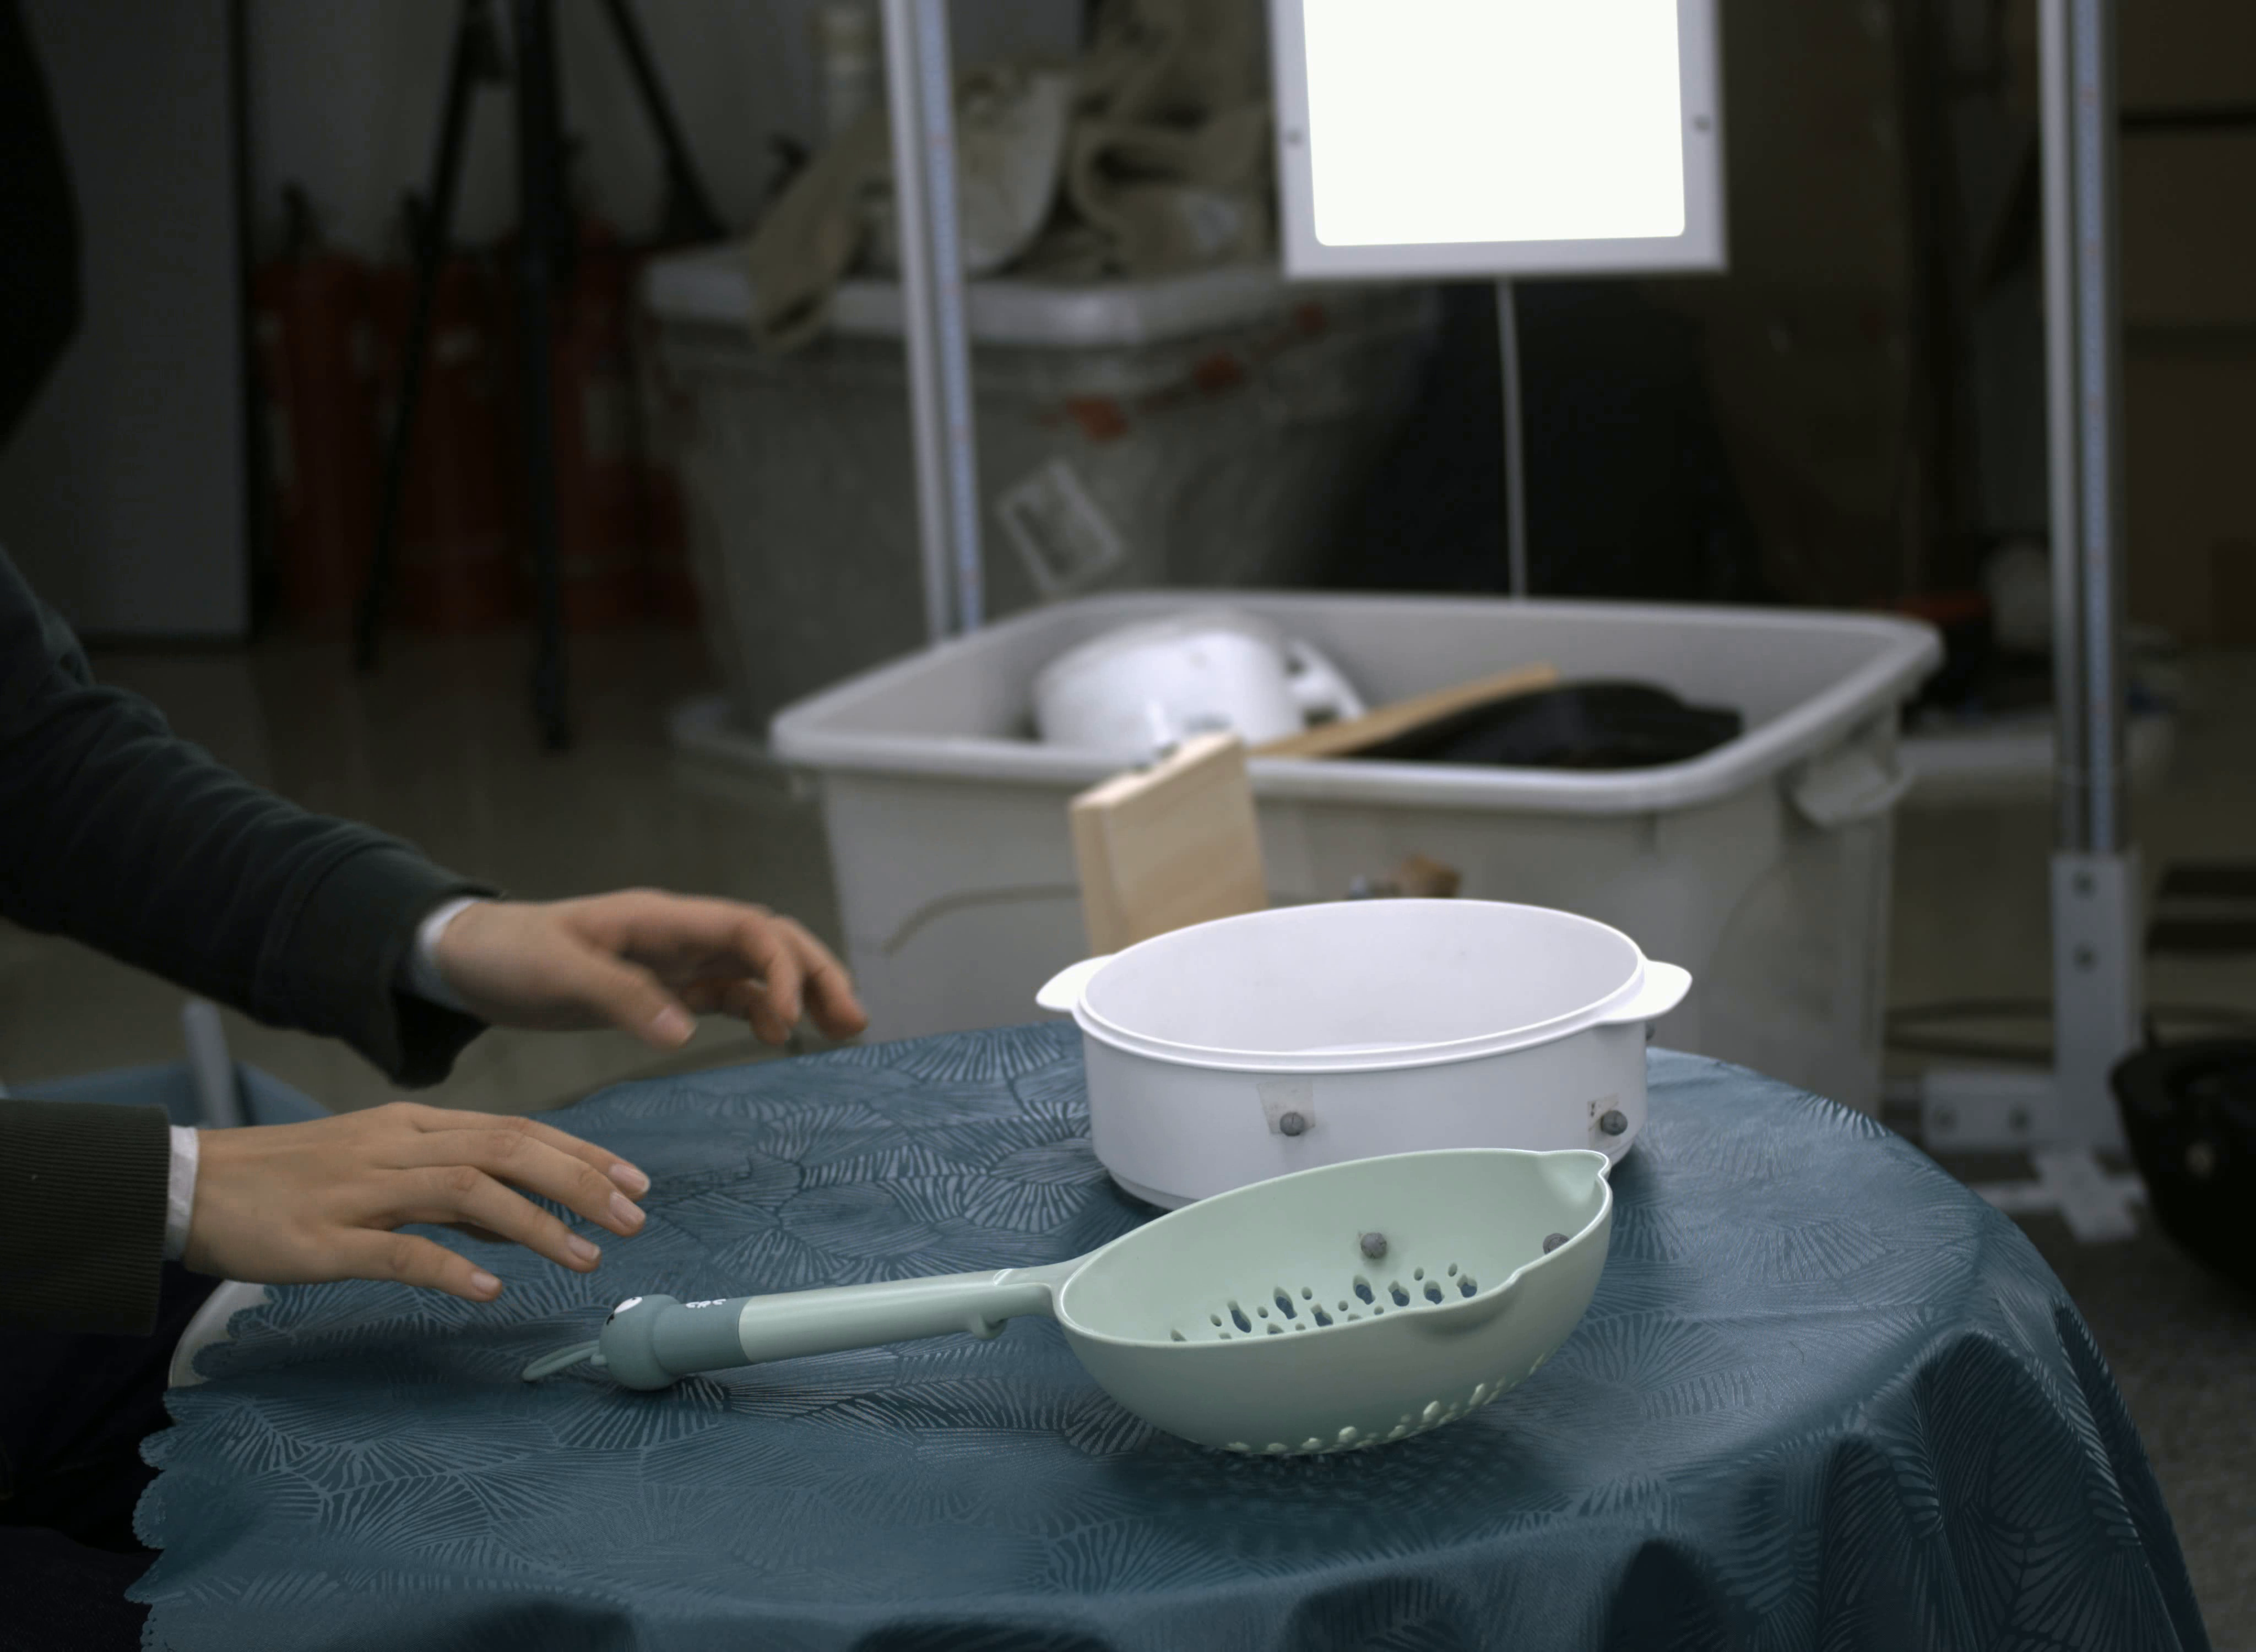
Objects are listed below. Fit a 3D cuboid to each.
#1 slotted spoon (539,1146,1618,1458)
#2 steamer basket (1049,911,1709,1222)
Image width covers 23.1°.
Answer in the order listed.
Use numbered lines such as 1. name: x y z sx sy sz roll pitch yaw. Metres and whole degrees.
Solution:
1. slotted spoon: -0.024 0.147 1.684 0.364 0.075 0.166 1 15 23
2. steamer basket: 0.088 0.085 1.903 0.233 0.069 0.198 -1 13 20
